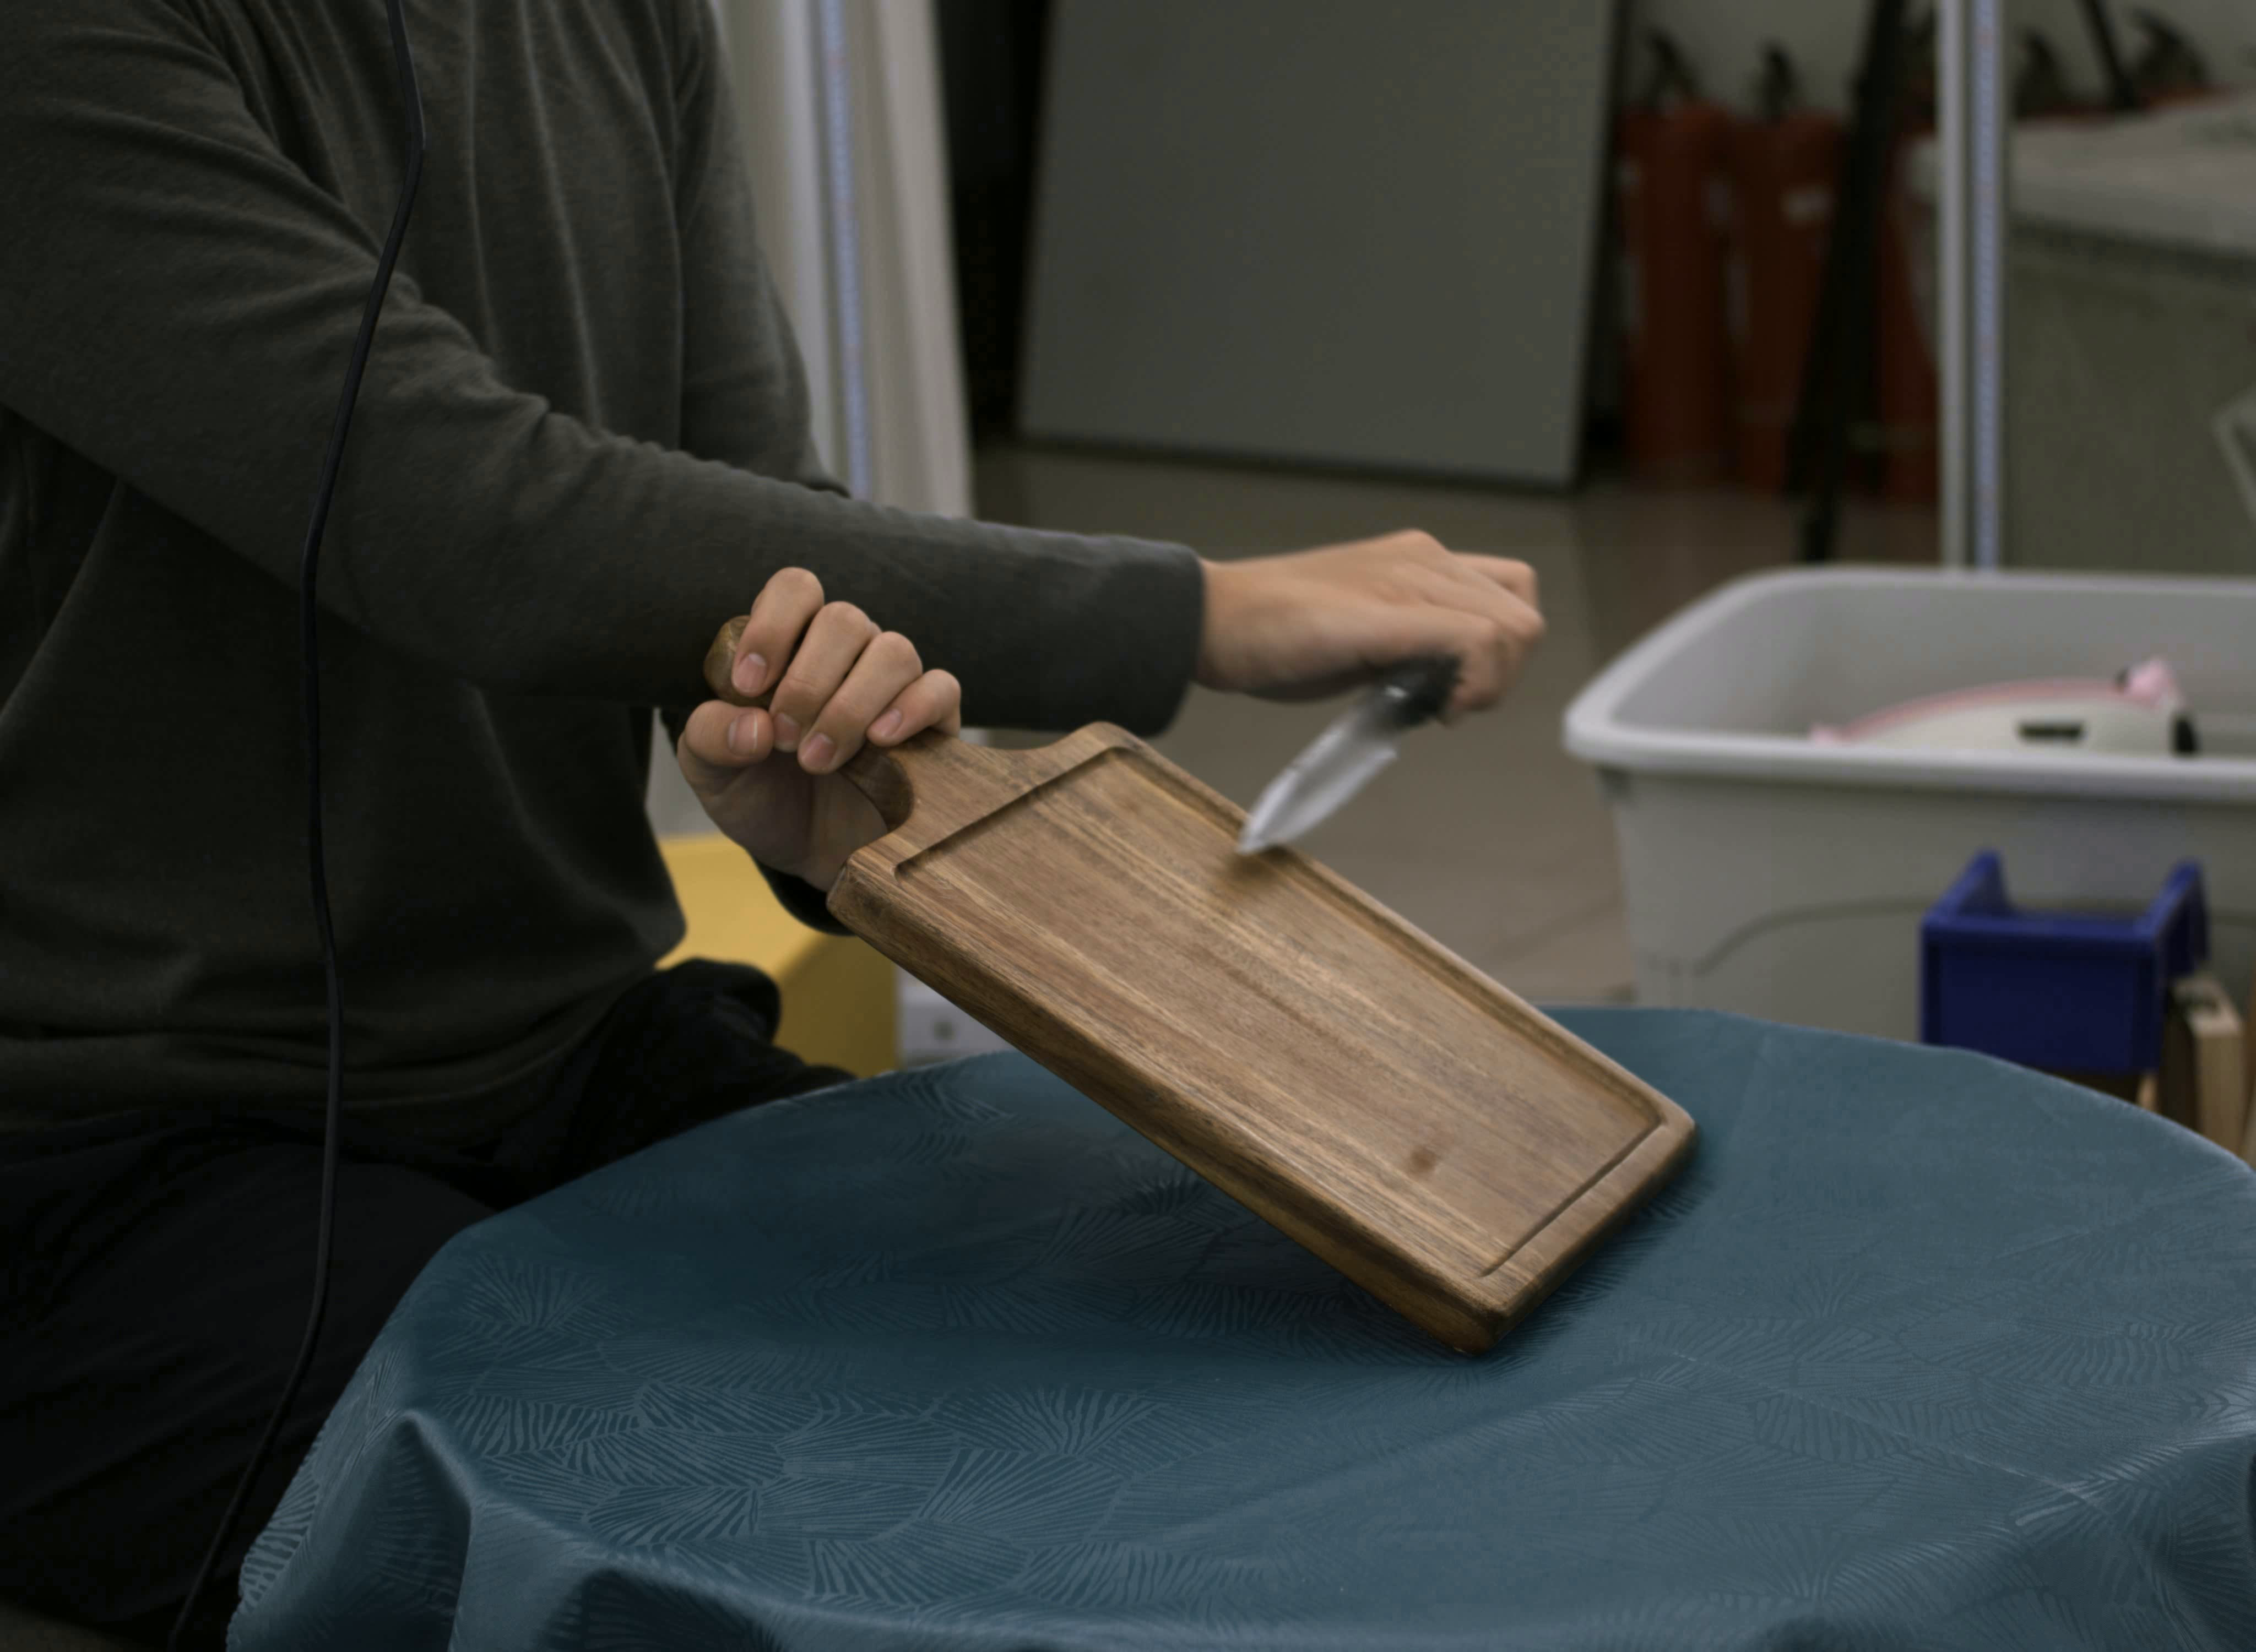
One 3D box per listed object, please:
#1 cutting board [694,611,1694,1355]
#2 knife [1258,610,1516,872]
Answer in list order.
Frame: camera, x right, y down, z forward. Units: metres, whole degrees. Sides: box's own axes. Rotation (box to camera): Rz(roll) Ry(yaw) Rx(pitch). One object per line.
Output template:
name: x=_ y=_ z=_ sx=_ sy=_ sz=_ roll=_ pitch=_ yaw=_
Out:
cutting board: x=0.006 y=0.033 z=1.715 sx=0.353 sy=0.023 sz=0.198 roll=34 pitch=26 yaw=15
knife: x=0.087 y=-0.030 z=1.852 sx=0.024 sy=0.016 sz=0.236 roll=30 pitch=31 yaw=10
